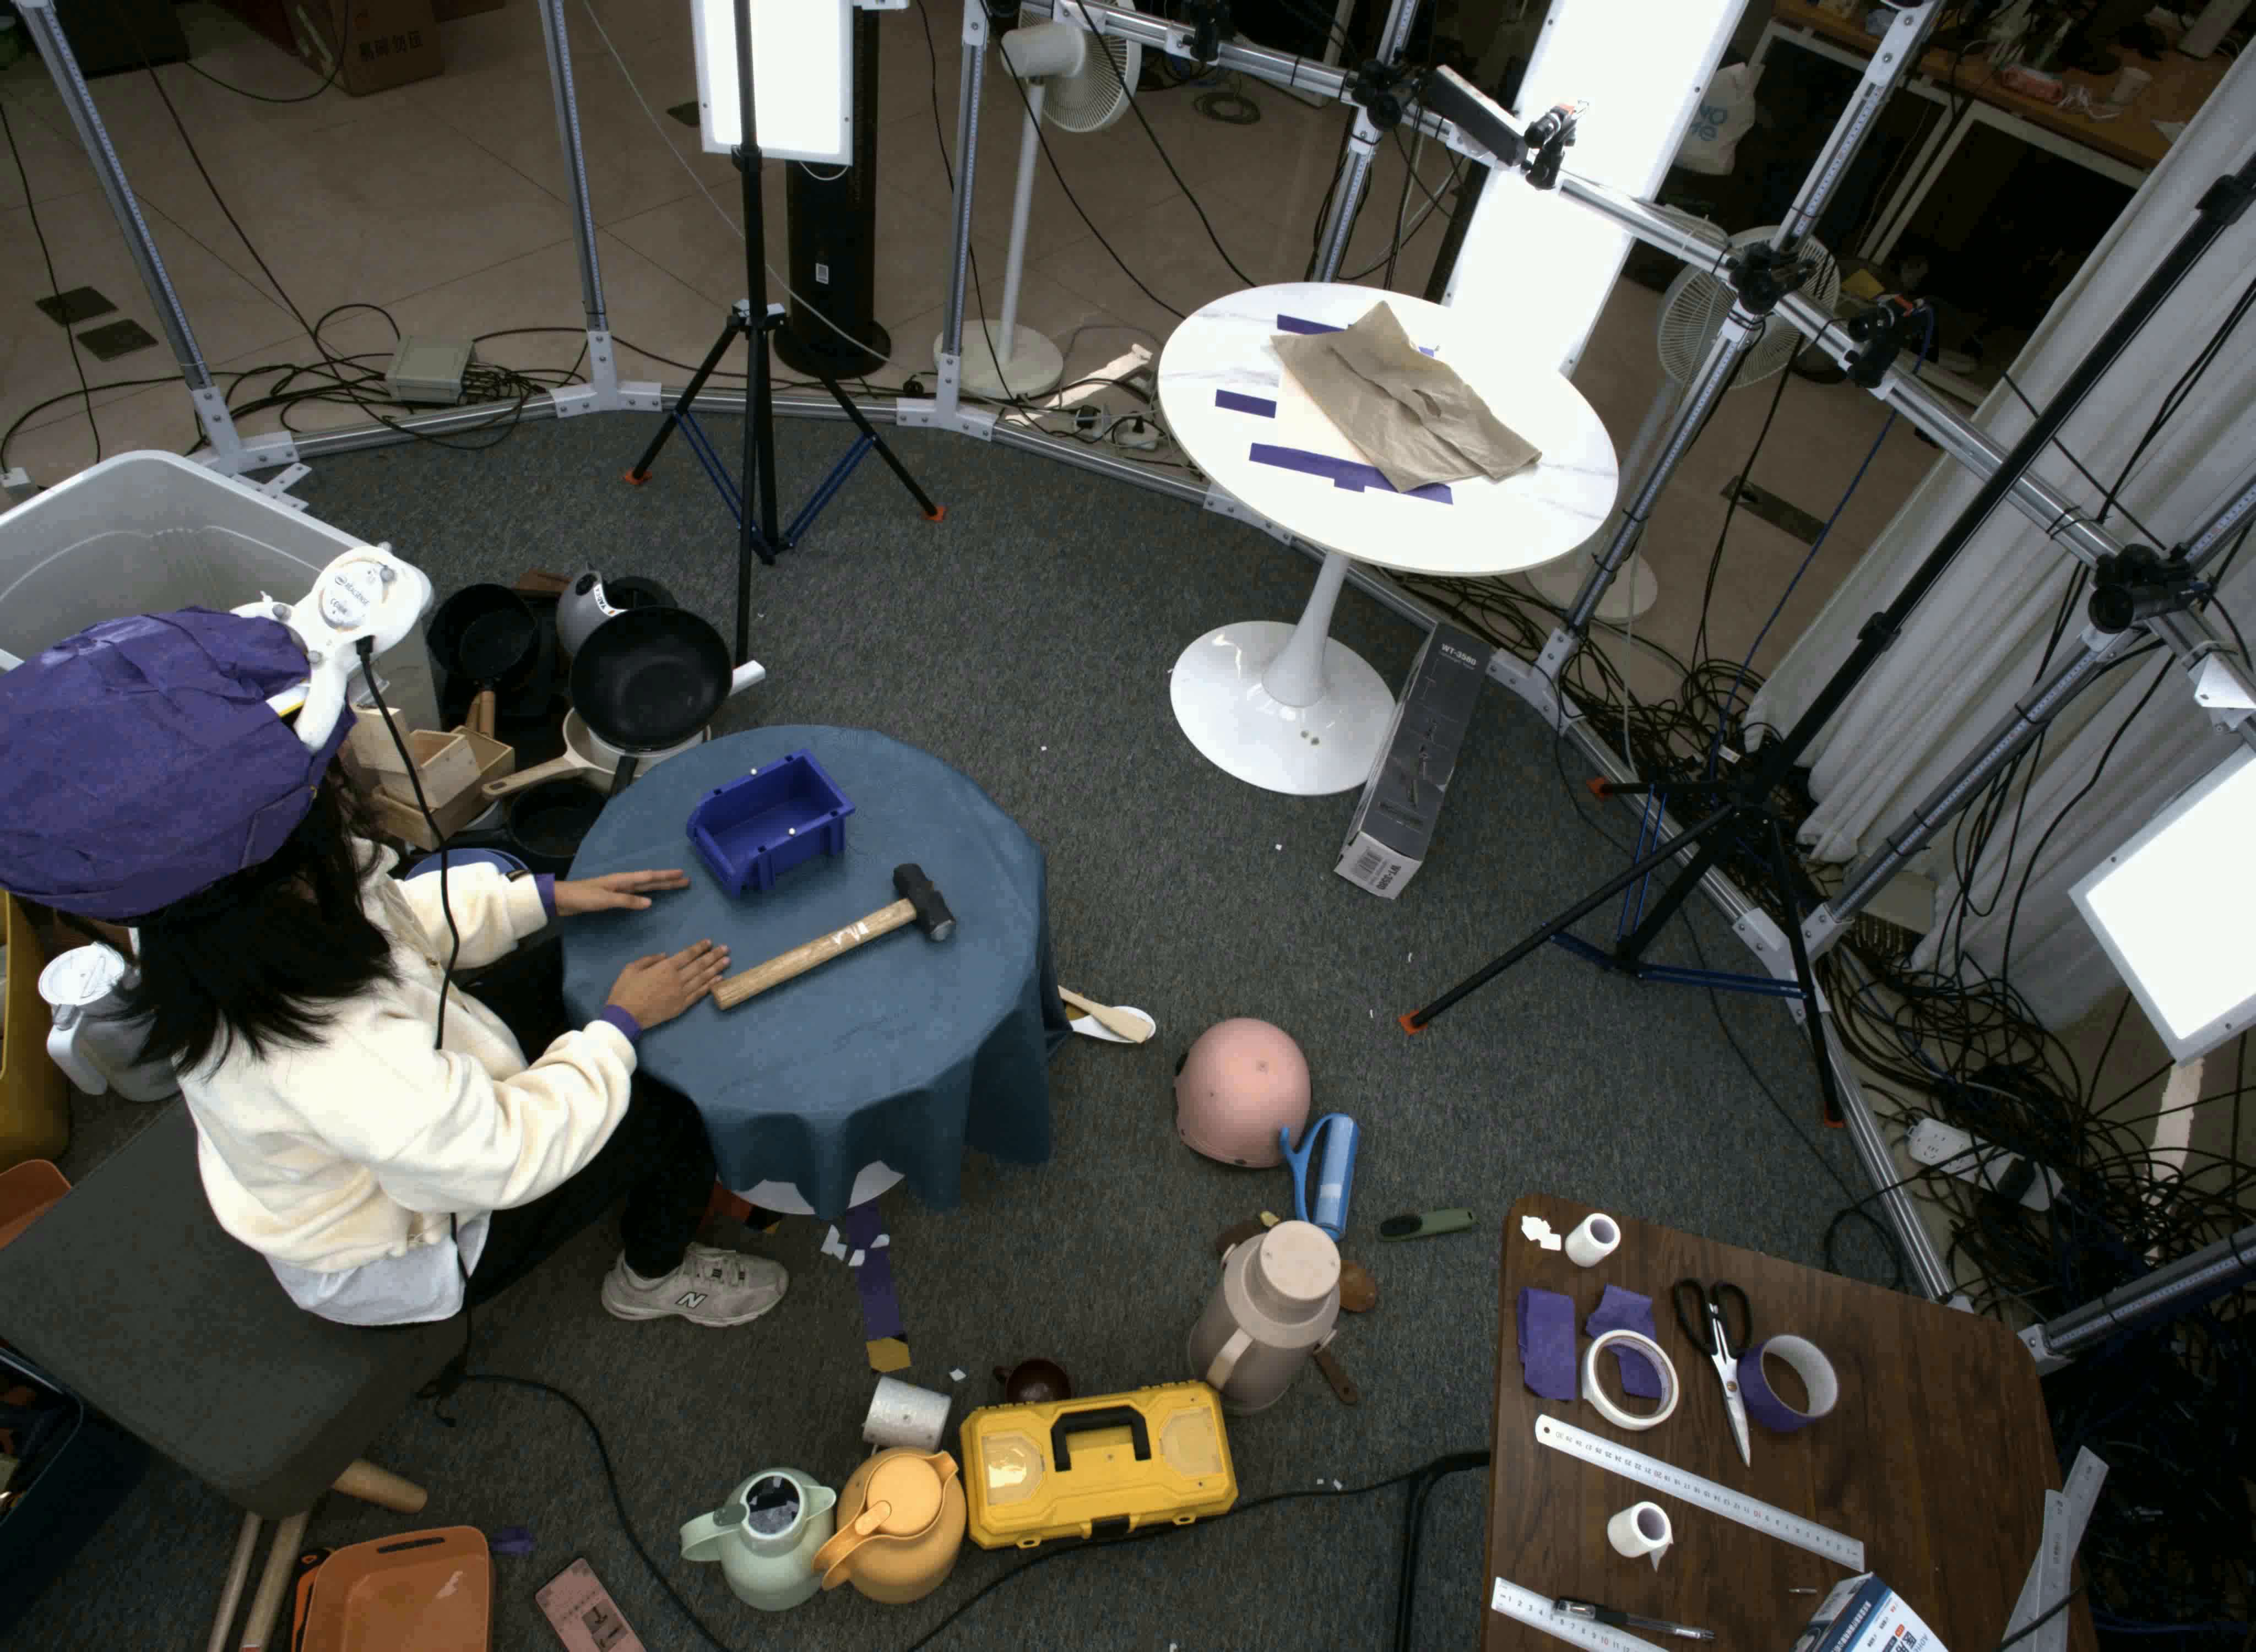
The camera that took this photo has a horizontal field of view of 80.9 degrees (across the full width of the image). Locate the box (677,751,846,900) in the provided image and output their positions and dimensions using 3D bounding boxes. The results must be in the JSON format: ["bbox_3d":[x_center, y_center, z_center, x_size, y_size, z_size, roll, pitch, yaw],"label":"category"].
[{"bbox_3d":[-0.468,0.003,1.653,0.180,0.083,0.121,-28,64,-33],"label":"box"}]

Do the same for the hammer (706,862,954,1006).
[{"bbox_3d":[-0.371,0.143,1.604,0.306,0.039,0.104,-24,63,-27],"label":"hammer"}]
